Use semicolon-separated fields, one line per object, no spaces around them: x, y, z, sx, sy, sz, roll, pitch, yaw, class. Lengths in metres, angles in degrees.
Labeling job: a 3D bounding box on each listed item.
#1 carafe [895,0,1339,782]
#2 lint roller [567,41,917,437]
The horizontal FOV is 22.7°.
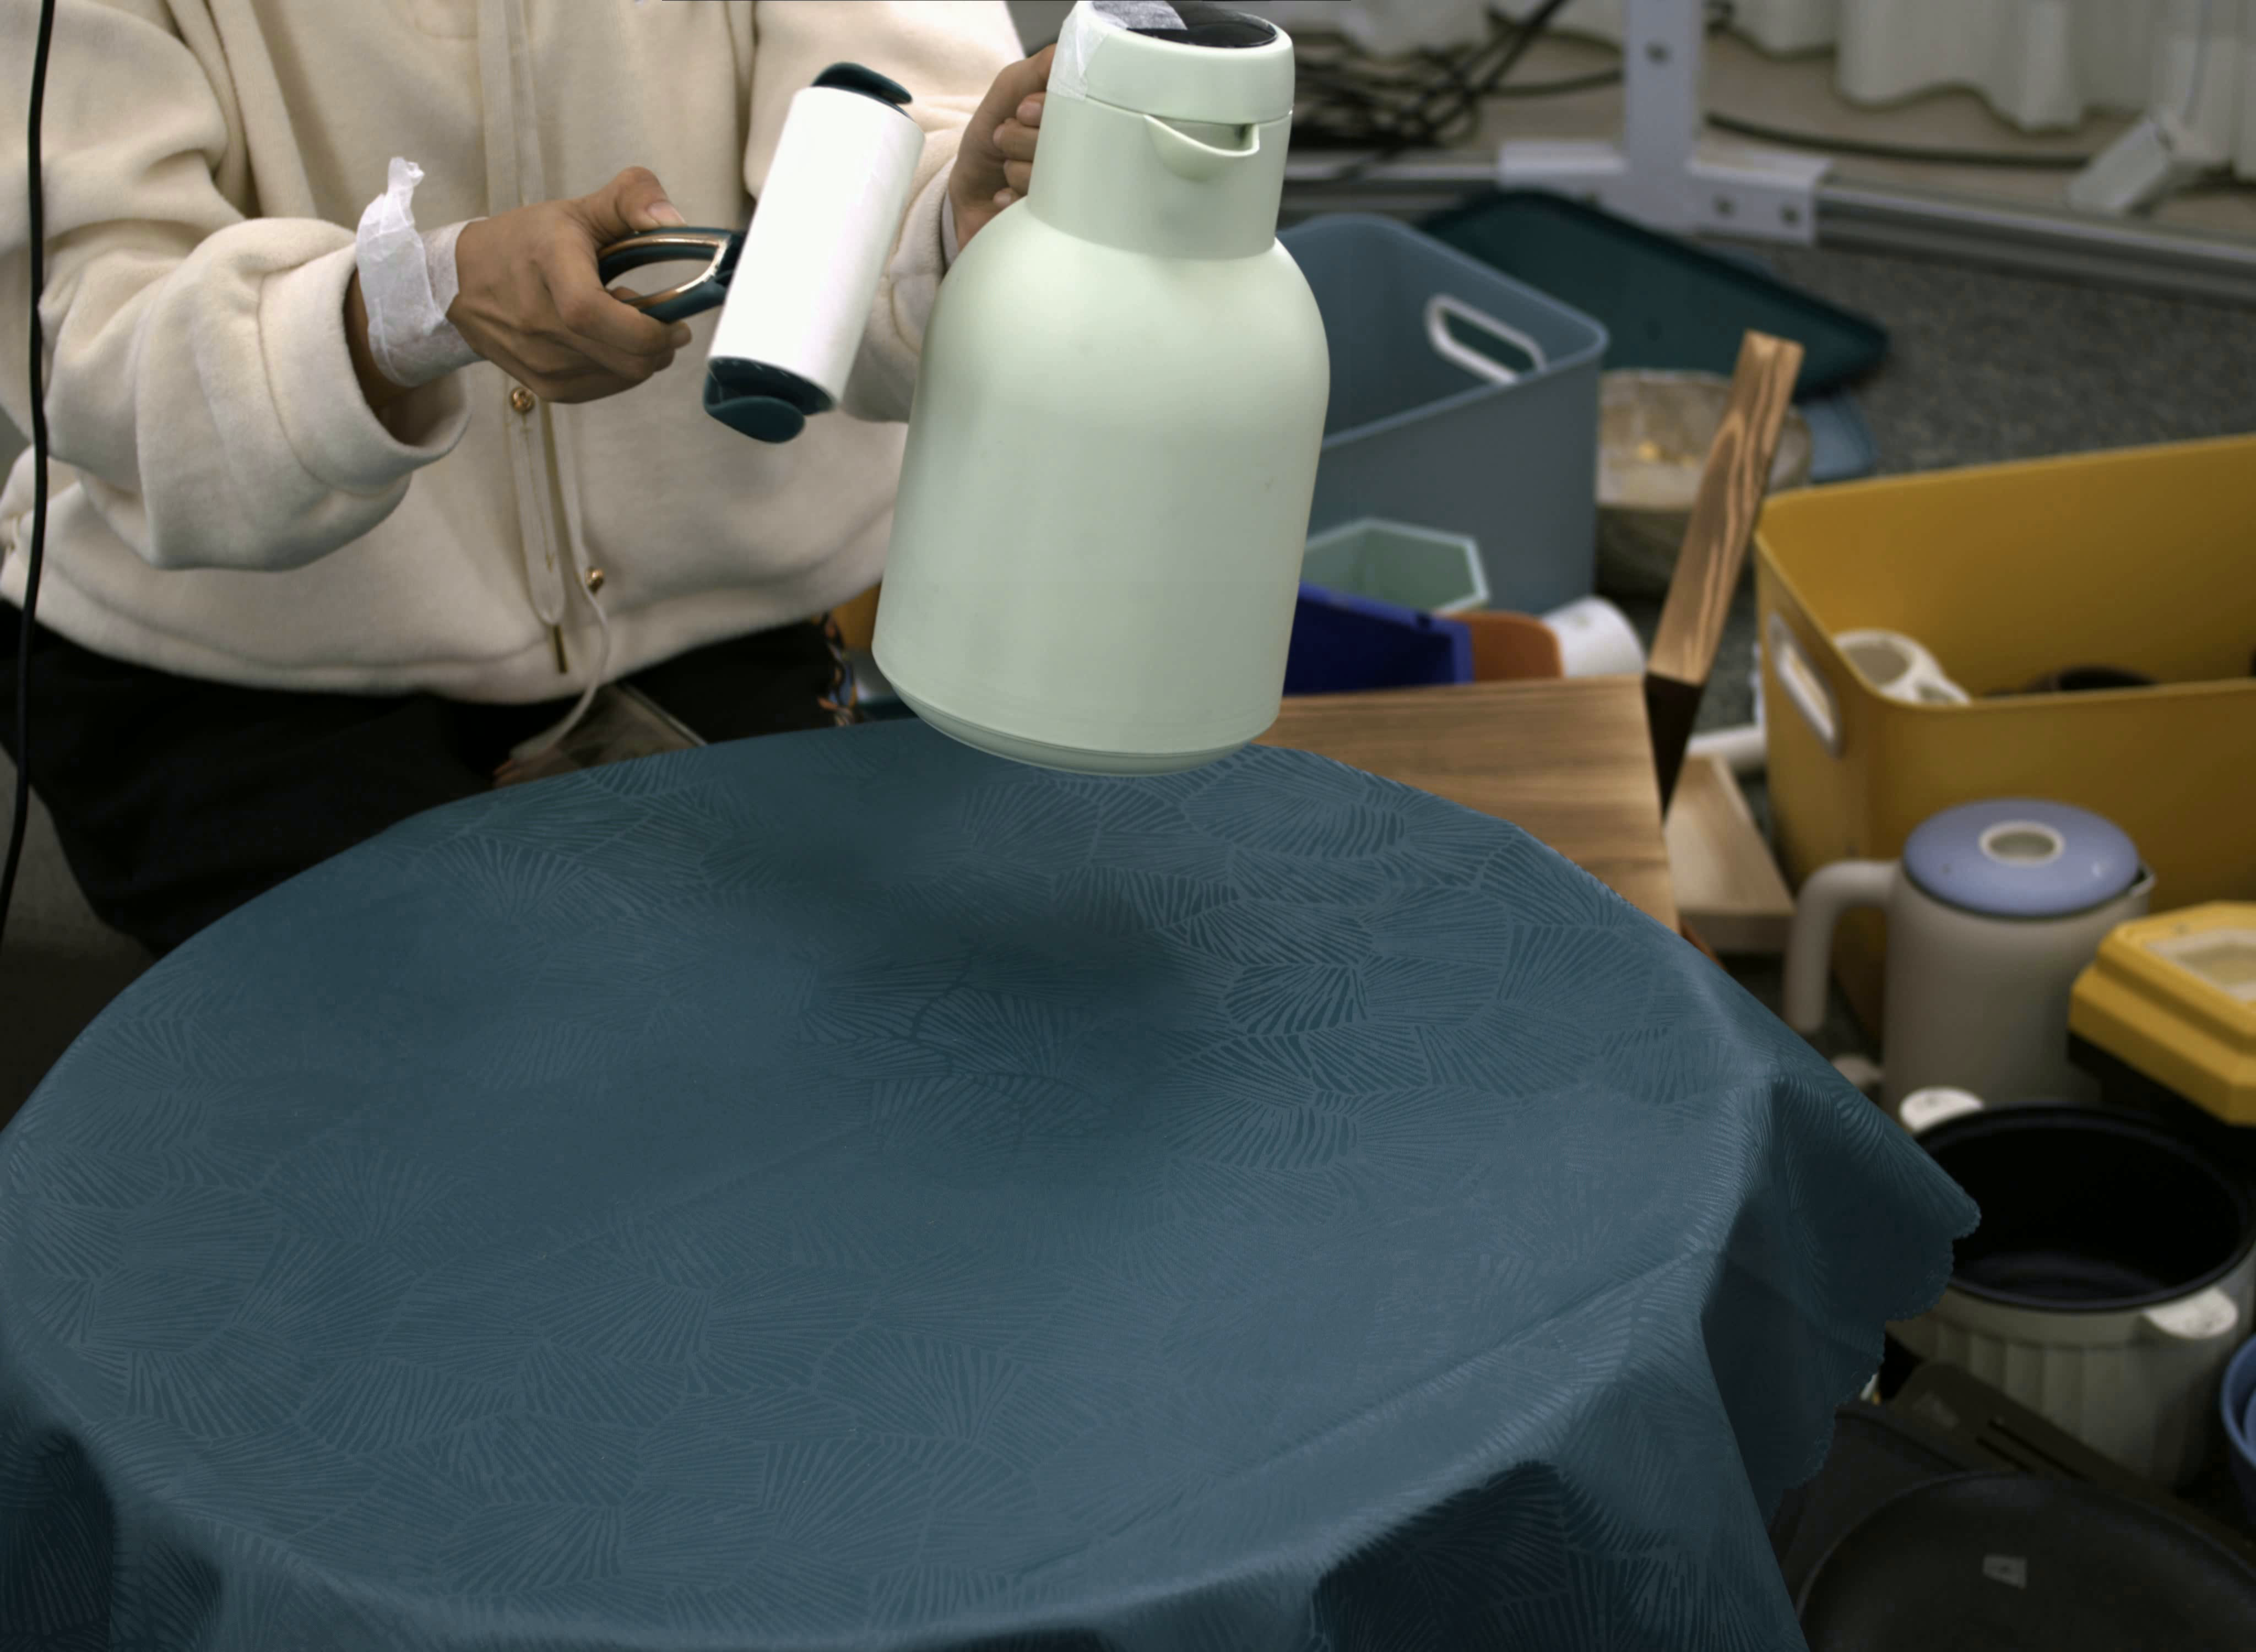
-0.001;-0.159;1.947;0.144;0.255;0.188;1;17;-16;carafe
-0.152;-0.197;1.941;0.178;0.136;0.048;2;-22;47;lint roller
